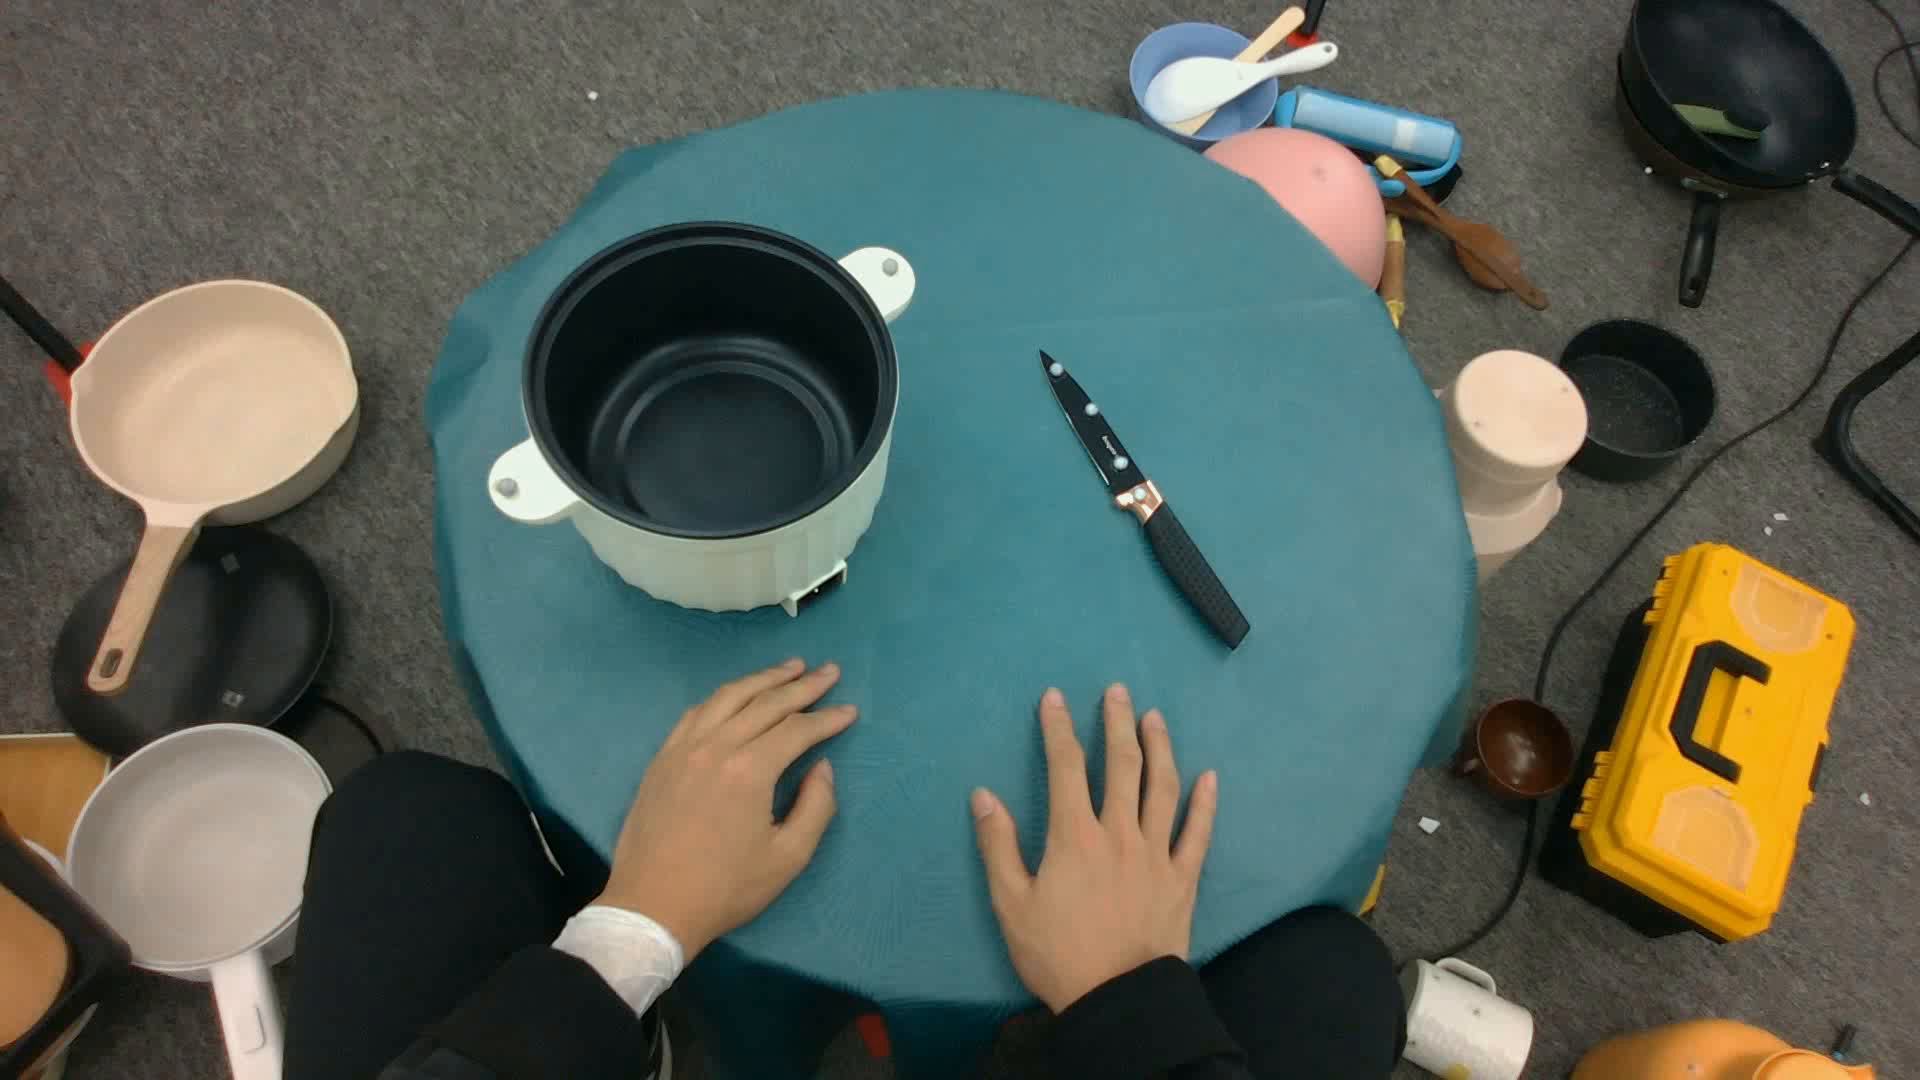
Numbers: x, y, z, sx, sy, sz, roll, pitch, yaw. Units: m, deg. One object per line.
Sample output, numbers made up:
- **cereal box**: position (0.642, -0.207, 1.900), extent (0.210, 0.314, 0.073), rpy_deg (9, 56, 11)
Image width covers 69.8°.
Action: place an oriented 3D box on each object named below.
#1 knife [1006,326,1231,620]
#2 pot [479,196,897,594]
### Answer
- **knife**: position (0.091, -0.045, 0.820), extent (0.026, 0.017, 0.226), rpy_deg (-31, 71, -3)
- **pot**: position (-0.139, -0.071, 0.732), extent (0.241, 0.142, 0.190), rpy_deg (-36, 78, -21)
